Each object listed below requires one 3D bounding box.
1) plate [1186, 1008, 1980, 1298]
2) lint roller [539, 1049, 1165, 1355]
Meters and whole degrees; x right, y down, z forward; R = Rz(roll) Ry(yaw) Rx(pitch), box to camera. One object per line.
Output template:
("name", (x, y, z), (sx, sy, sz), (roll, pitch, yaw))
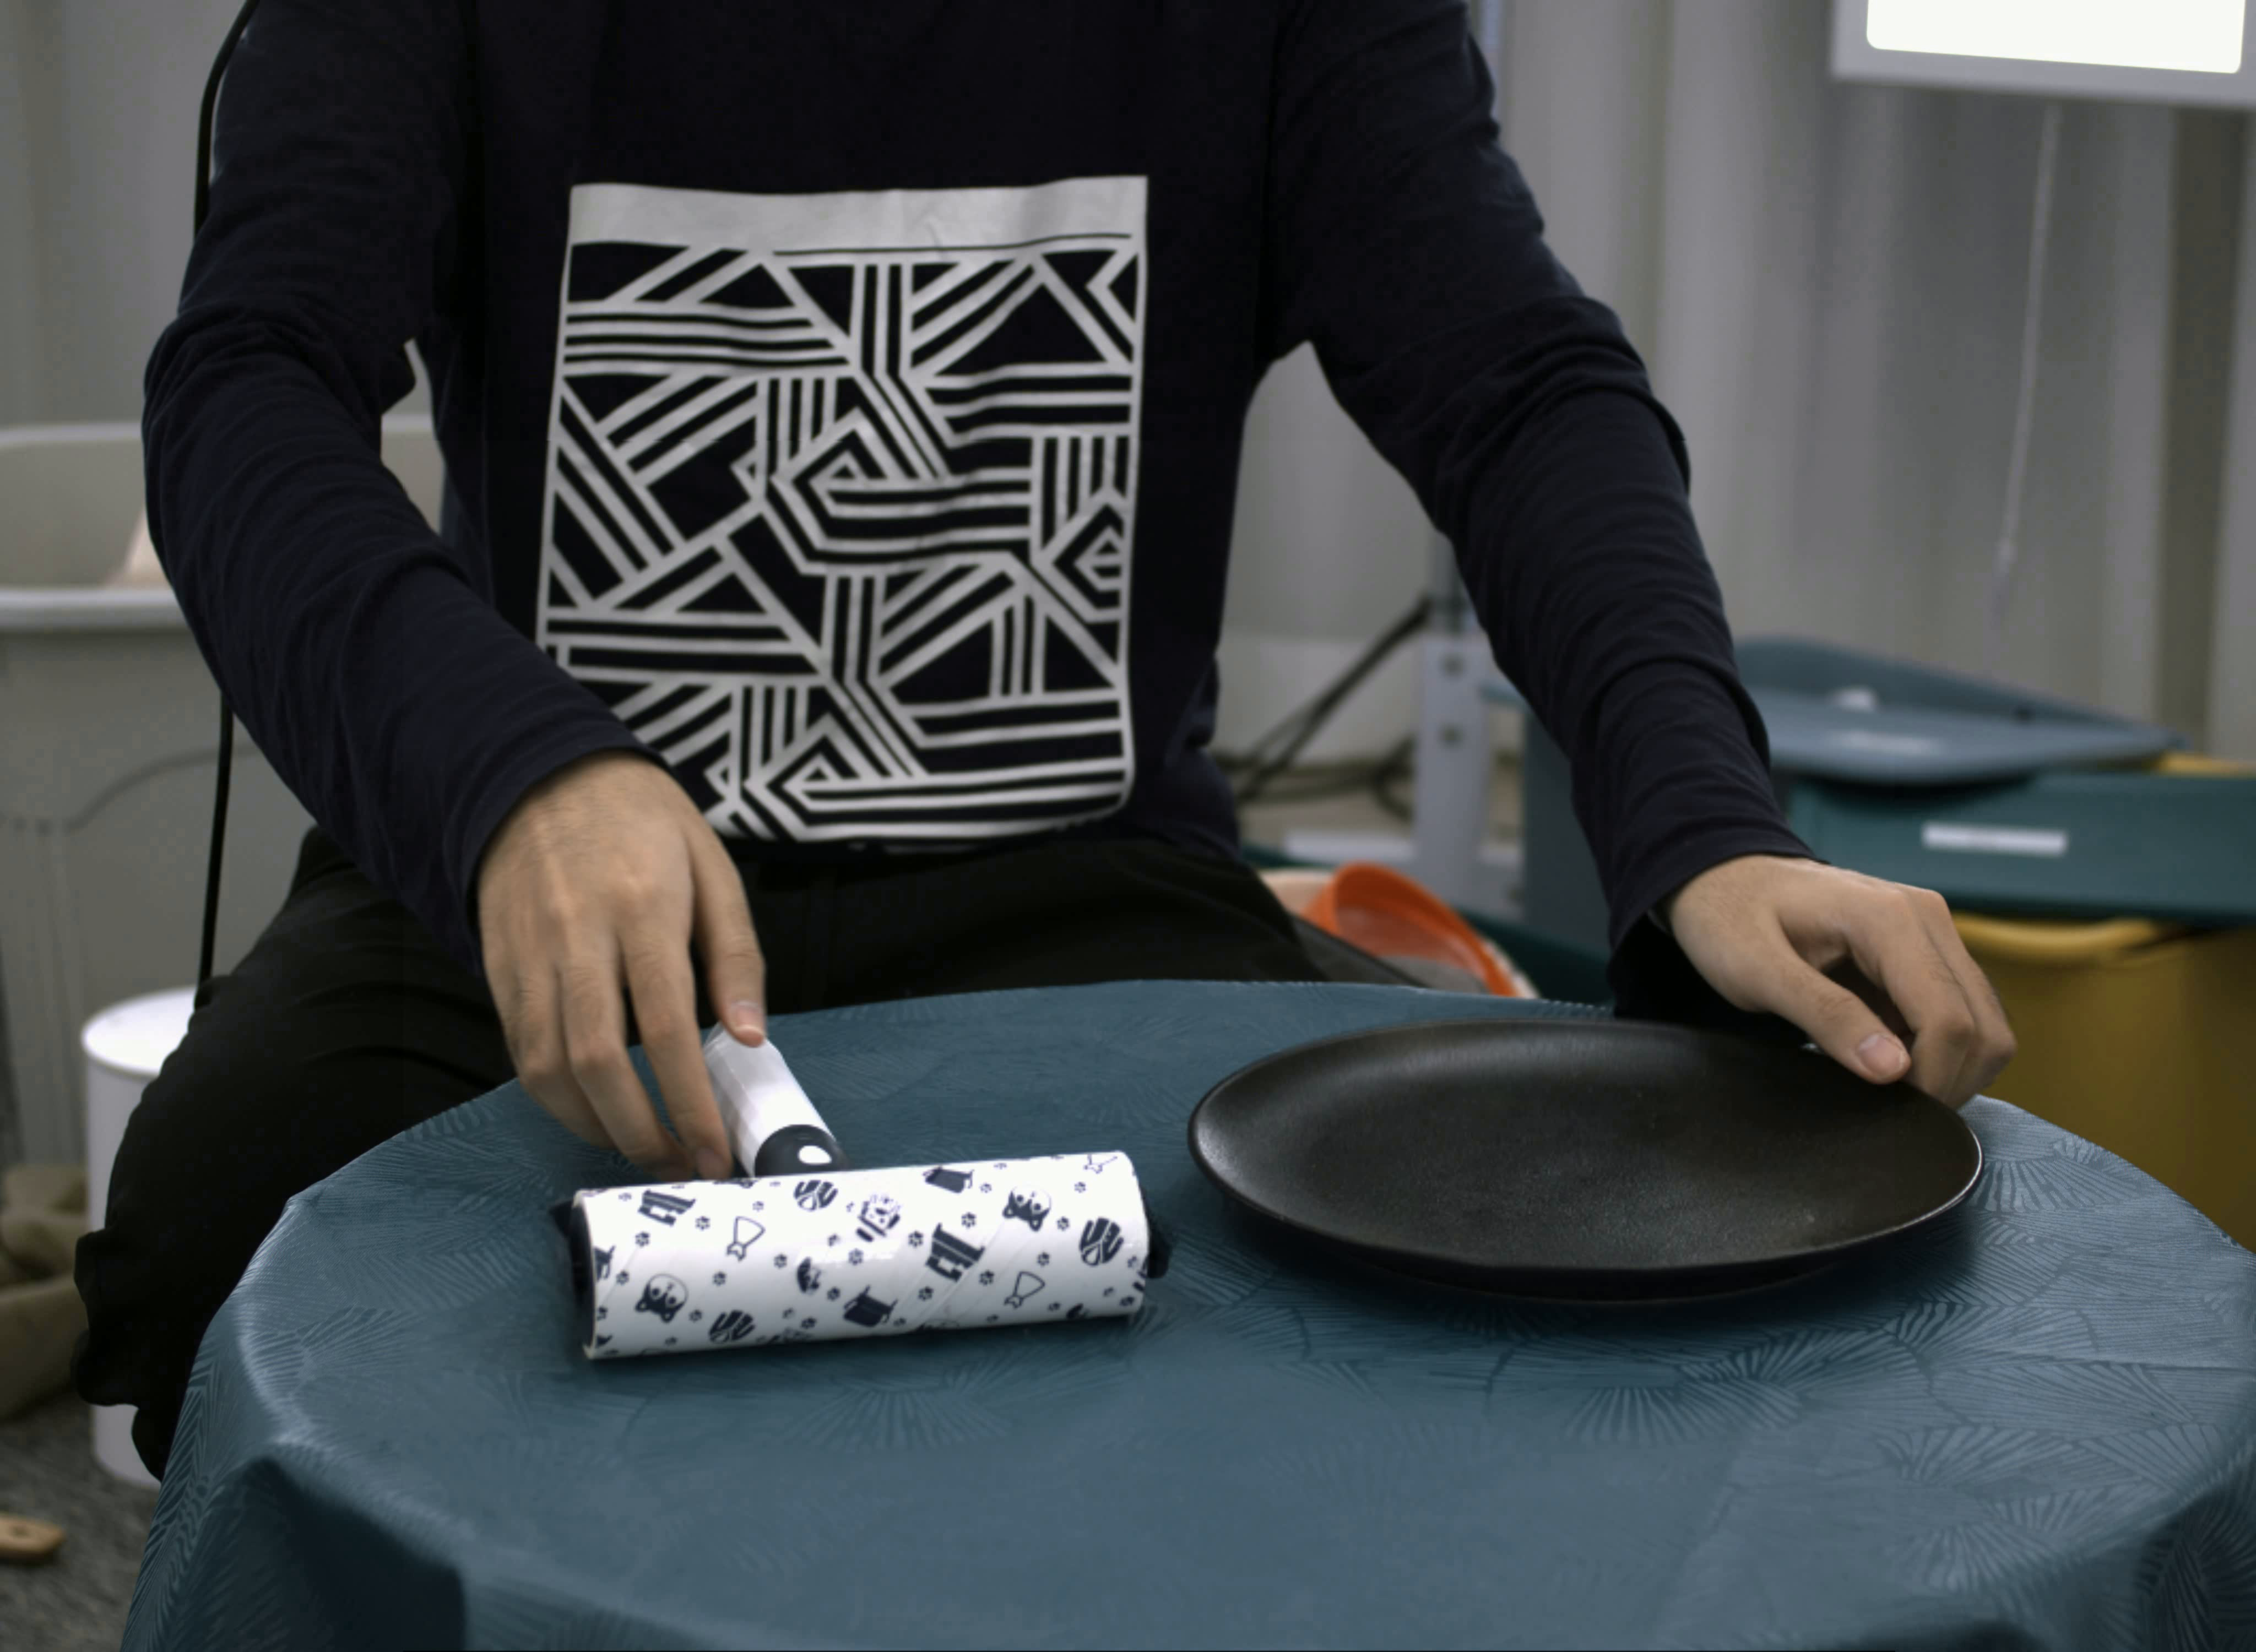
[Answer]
("plate", (0.139, 0.102, 1.617), (0.243, 0.023, 0.243), (0, 16, 1))
("lint roller", (-0.103, 0.099, 1.592), (0.176, 0.051, 0.245), (-4, 14, -14))
